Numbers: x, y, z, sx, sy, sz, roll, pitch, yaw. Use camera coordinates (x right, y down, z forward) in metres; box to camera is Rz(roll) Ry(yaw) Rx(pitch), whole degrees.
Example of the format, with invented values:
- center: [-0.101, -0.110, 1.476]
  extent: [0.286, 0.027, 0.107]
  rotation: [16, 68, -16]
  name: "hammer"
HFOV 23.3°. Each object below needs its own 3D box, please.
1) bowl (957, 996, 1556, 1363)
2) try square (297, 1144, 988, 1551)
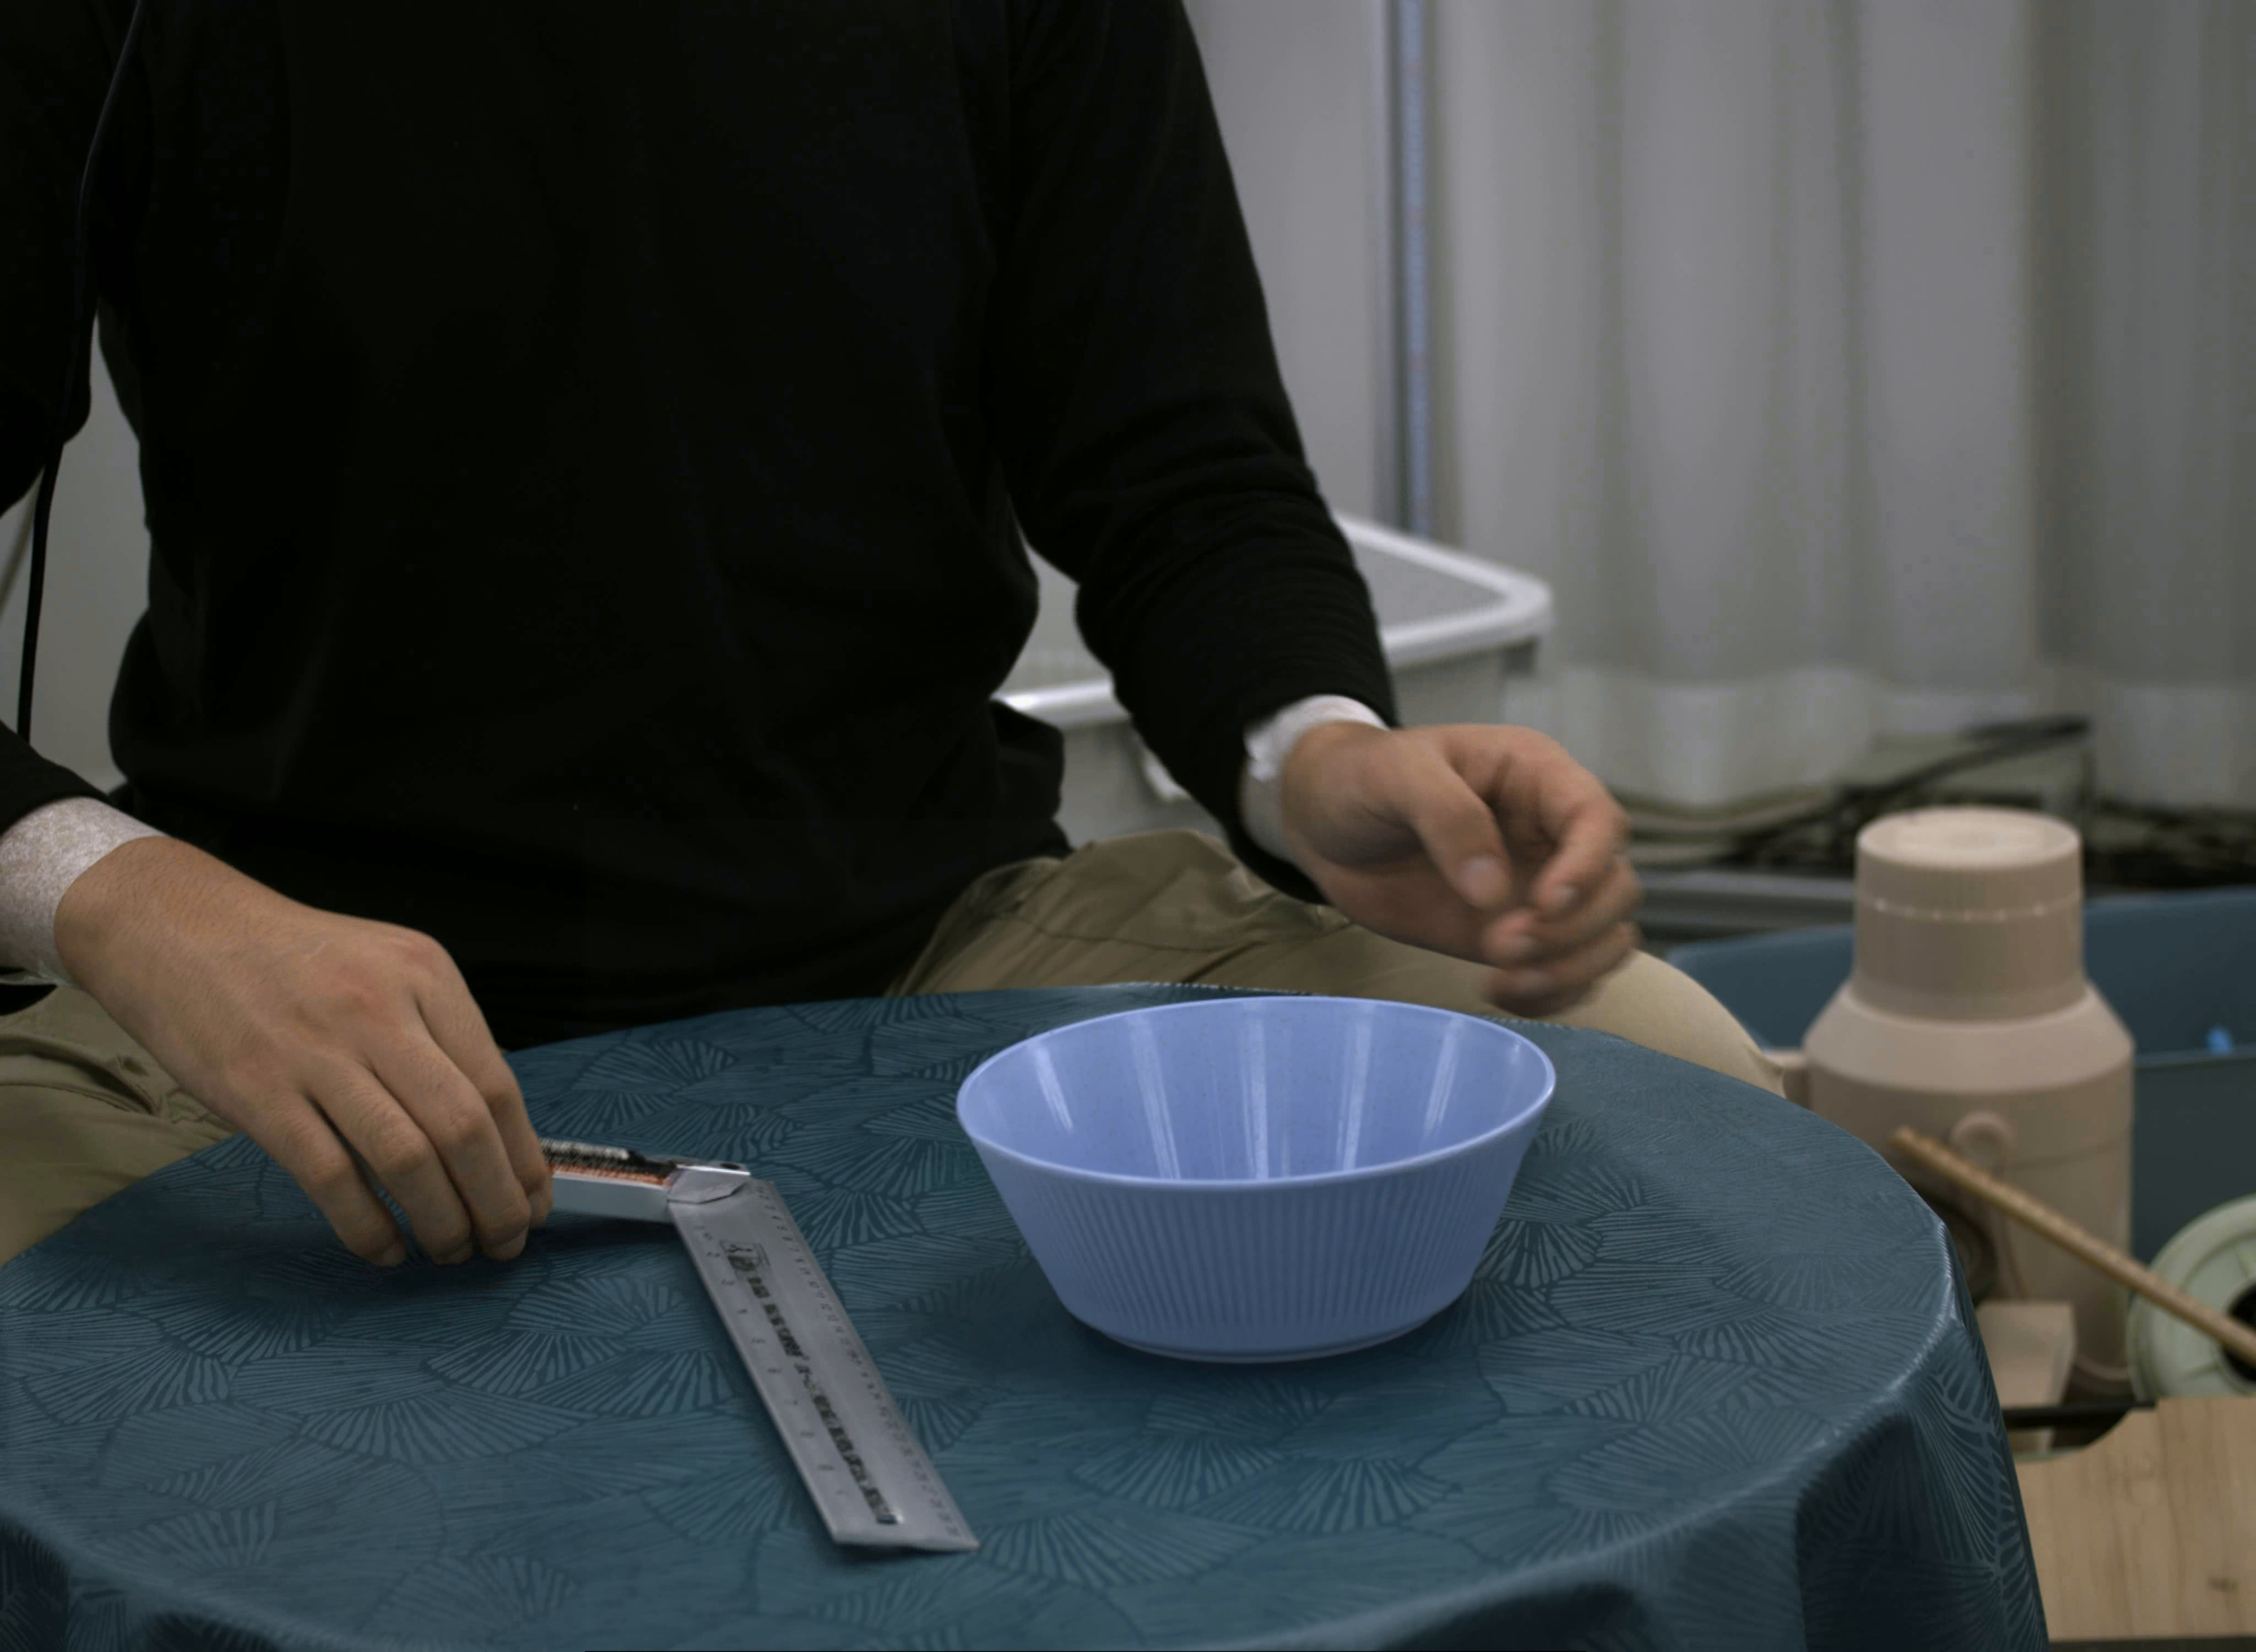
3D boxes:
- center: [0.039, 0.106, 1.604]
  extent: [0.175, 0.070, 0.177]
  rotation: [-3, 15, 1]
  name: "bowl"
- center: [-0.147, 0.146, 1.565]
  extent: [0.151, 0.016, 0.315]
  rotation: [3, 14, -15]
  name: "try square"
